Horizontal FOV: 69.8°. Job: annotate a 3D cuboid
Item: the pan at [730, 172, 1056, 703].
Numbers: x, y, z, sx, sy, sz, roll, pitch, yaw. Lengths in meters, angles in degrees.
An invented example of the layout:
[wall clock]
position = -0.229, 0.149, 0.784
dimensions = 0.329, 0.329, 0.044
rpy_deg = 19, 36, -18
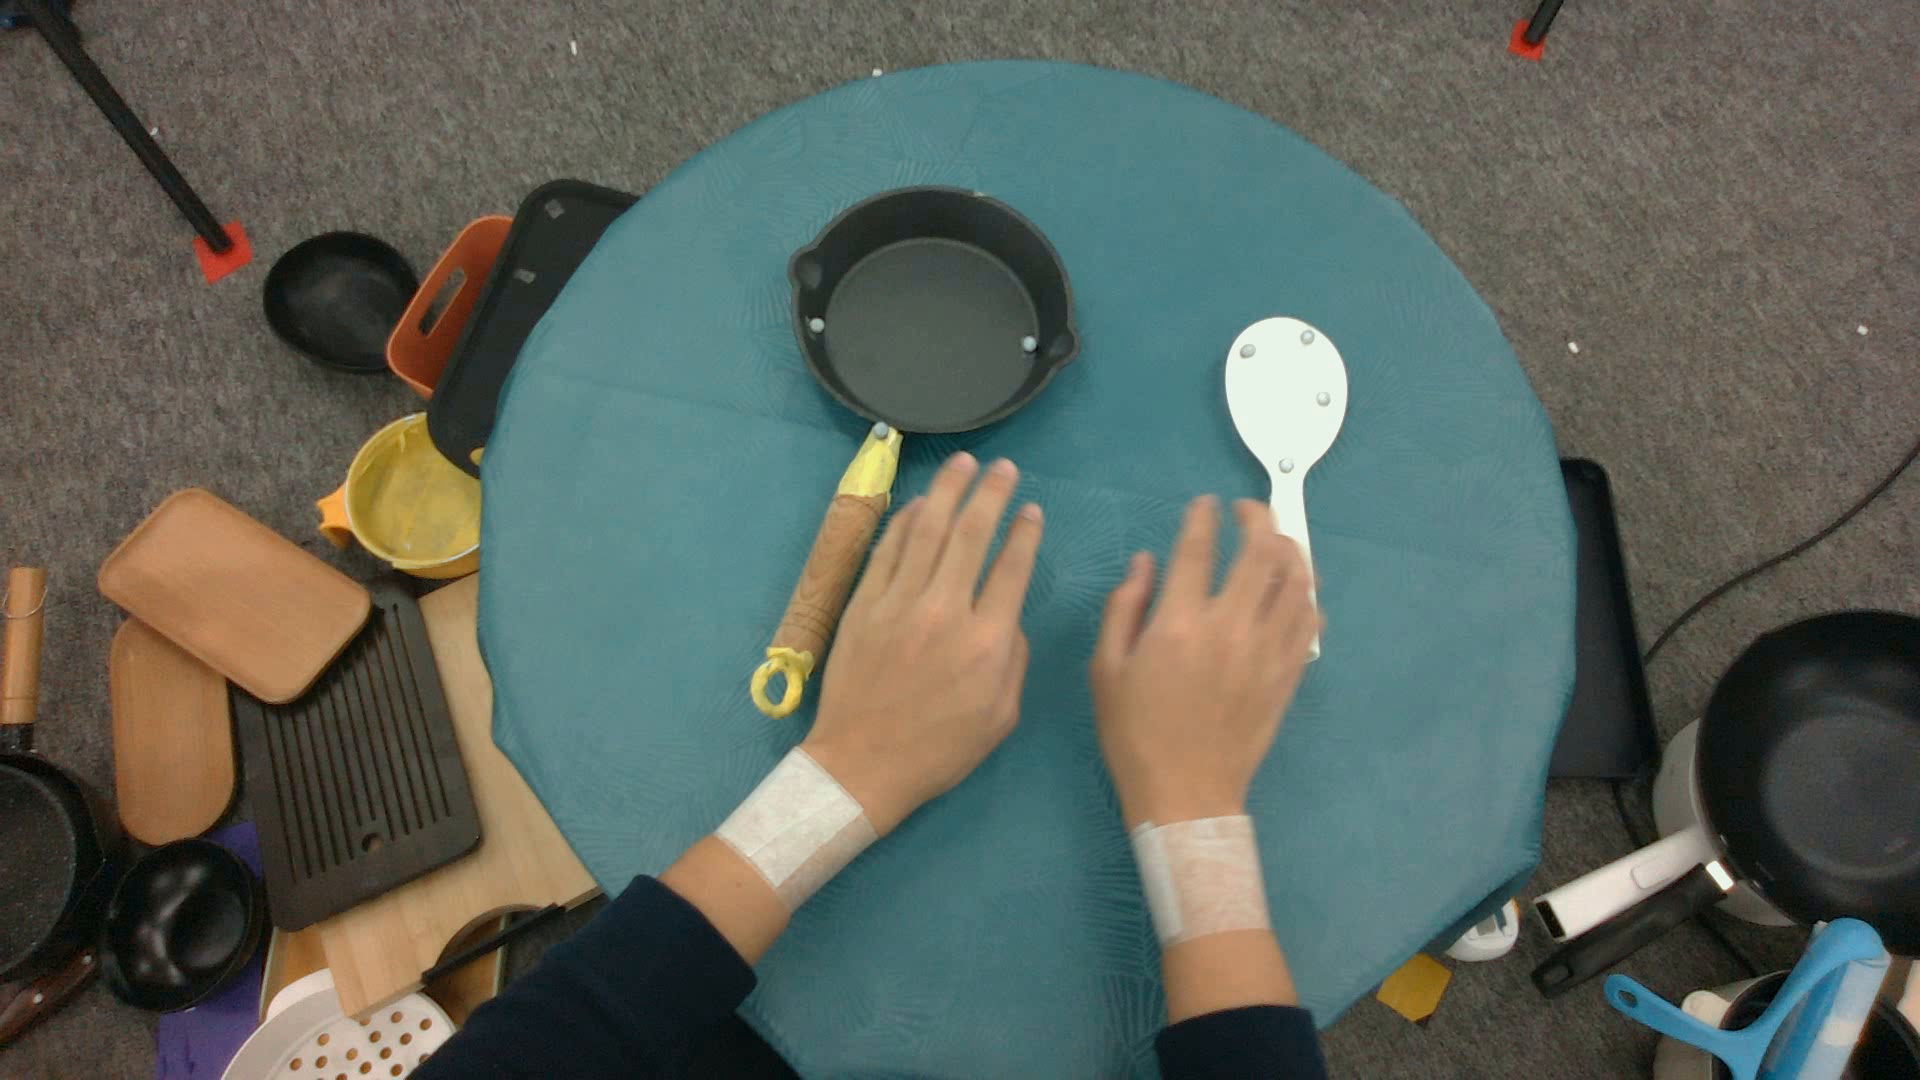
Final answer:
[pan]
position = -0.055, -0.061, 0.736
dimensions = 0.169, 0.049, 0.325
rpy_deg = 19, 67, 3

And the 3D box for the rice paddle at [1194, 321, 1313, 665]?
[rice paddle]
position = 0.163, -0.034, 0.756
dimensions = 0.069, 0.029, 0.206
rpy_deg = 4, 67, -4
